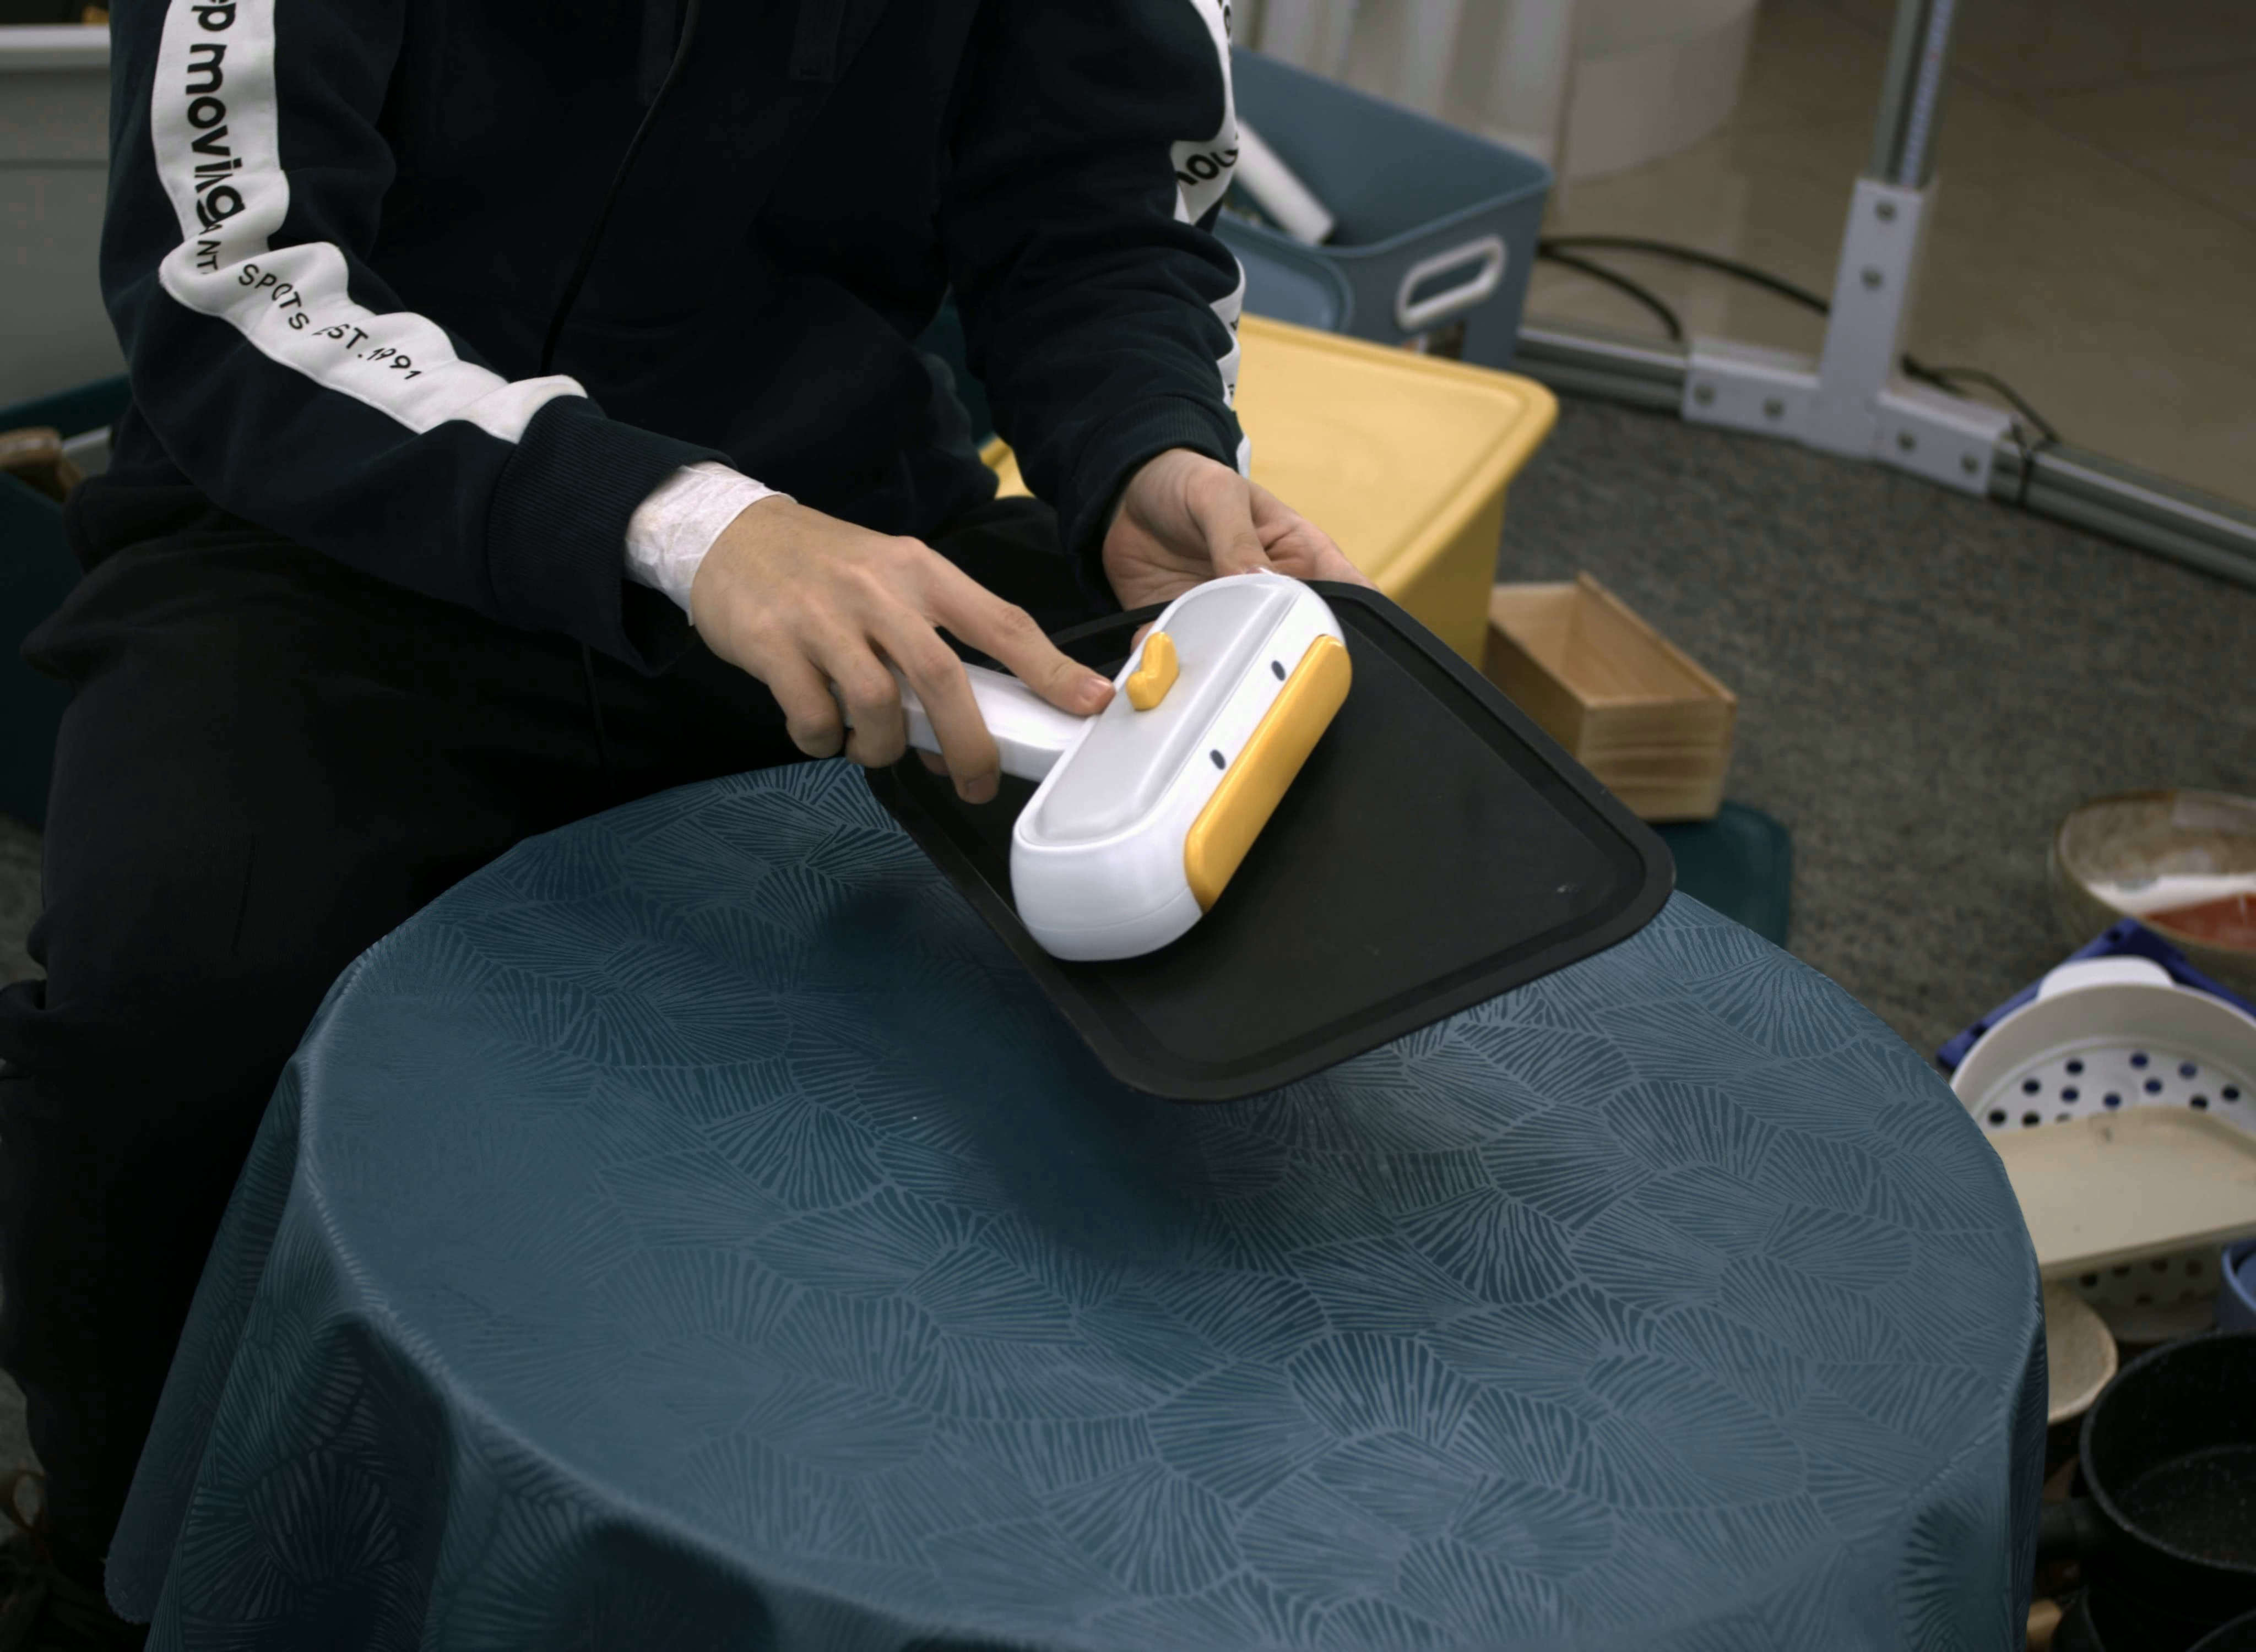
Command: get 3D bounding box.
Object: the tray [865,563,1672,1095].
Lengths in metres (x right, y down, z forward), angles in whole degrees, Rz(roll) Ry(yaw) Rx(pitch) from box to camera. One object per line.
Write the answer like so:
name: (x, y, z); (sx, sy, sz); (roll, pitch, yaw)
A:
tray: (0.038, -0.009, 1.869); (0.210, 0.010, 0.328); (-22, 33, -14)

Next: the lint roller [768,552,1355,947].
lint roller: (-0.033, -0.035, 1.871); (0.193, 0.073, 0.193); (1, 39, 22)
